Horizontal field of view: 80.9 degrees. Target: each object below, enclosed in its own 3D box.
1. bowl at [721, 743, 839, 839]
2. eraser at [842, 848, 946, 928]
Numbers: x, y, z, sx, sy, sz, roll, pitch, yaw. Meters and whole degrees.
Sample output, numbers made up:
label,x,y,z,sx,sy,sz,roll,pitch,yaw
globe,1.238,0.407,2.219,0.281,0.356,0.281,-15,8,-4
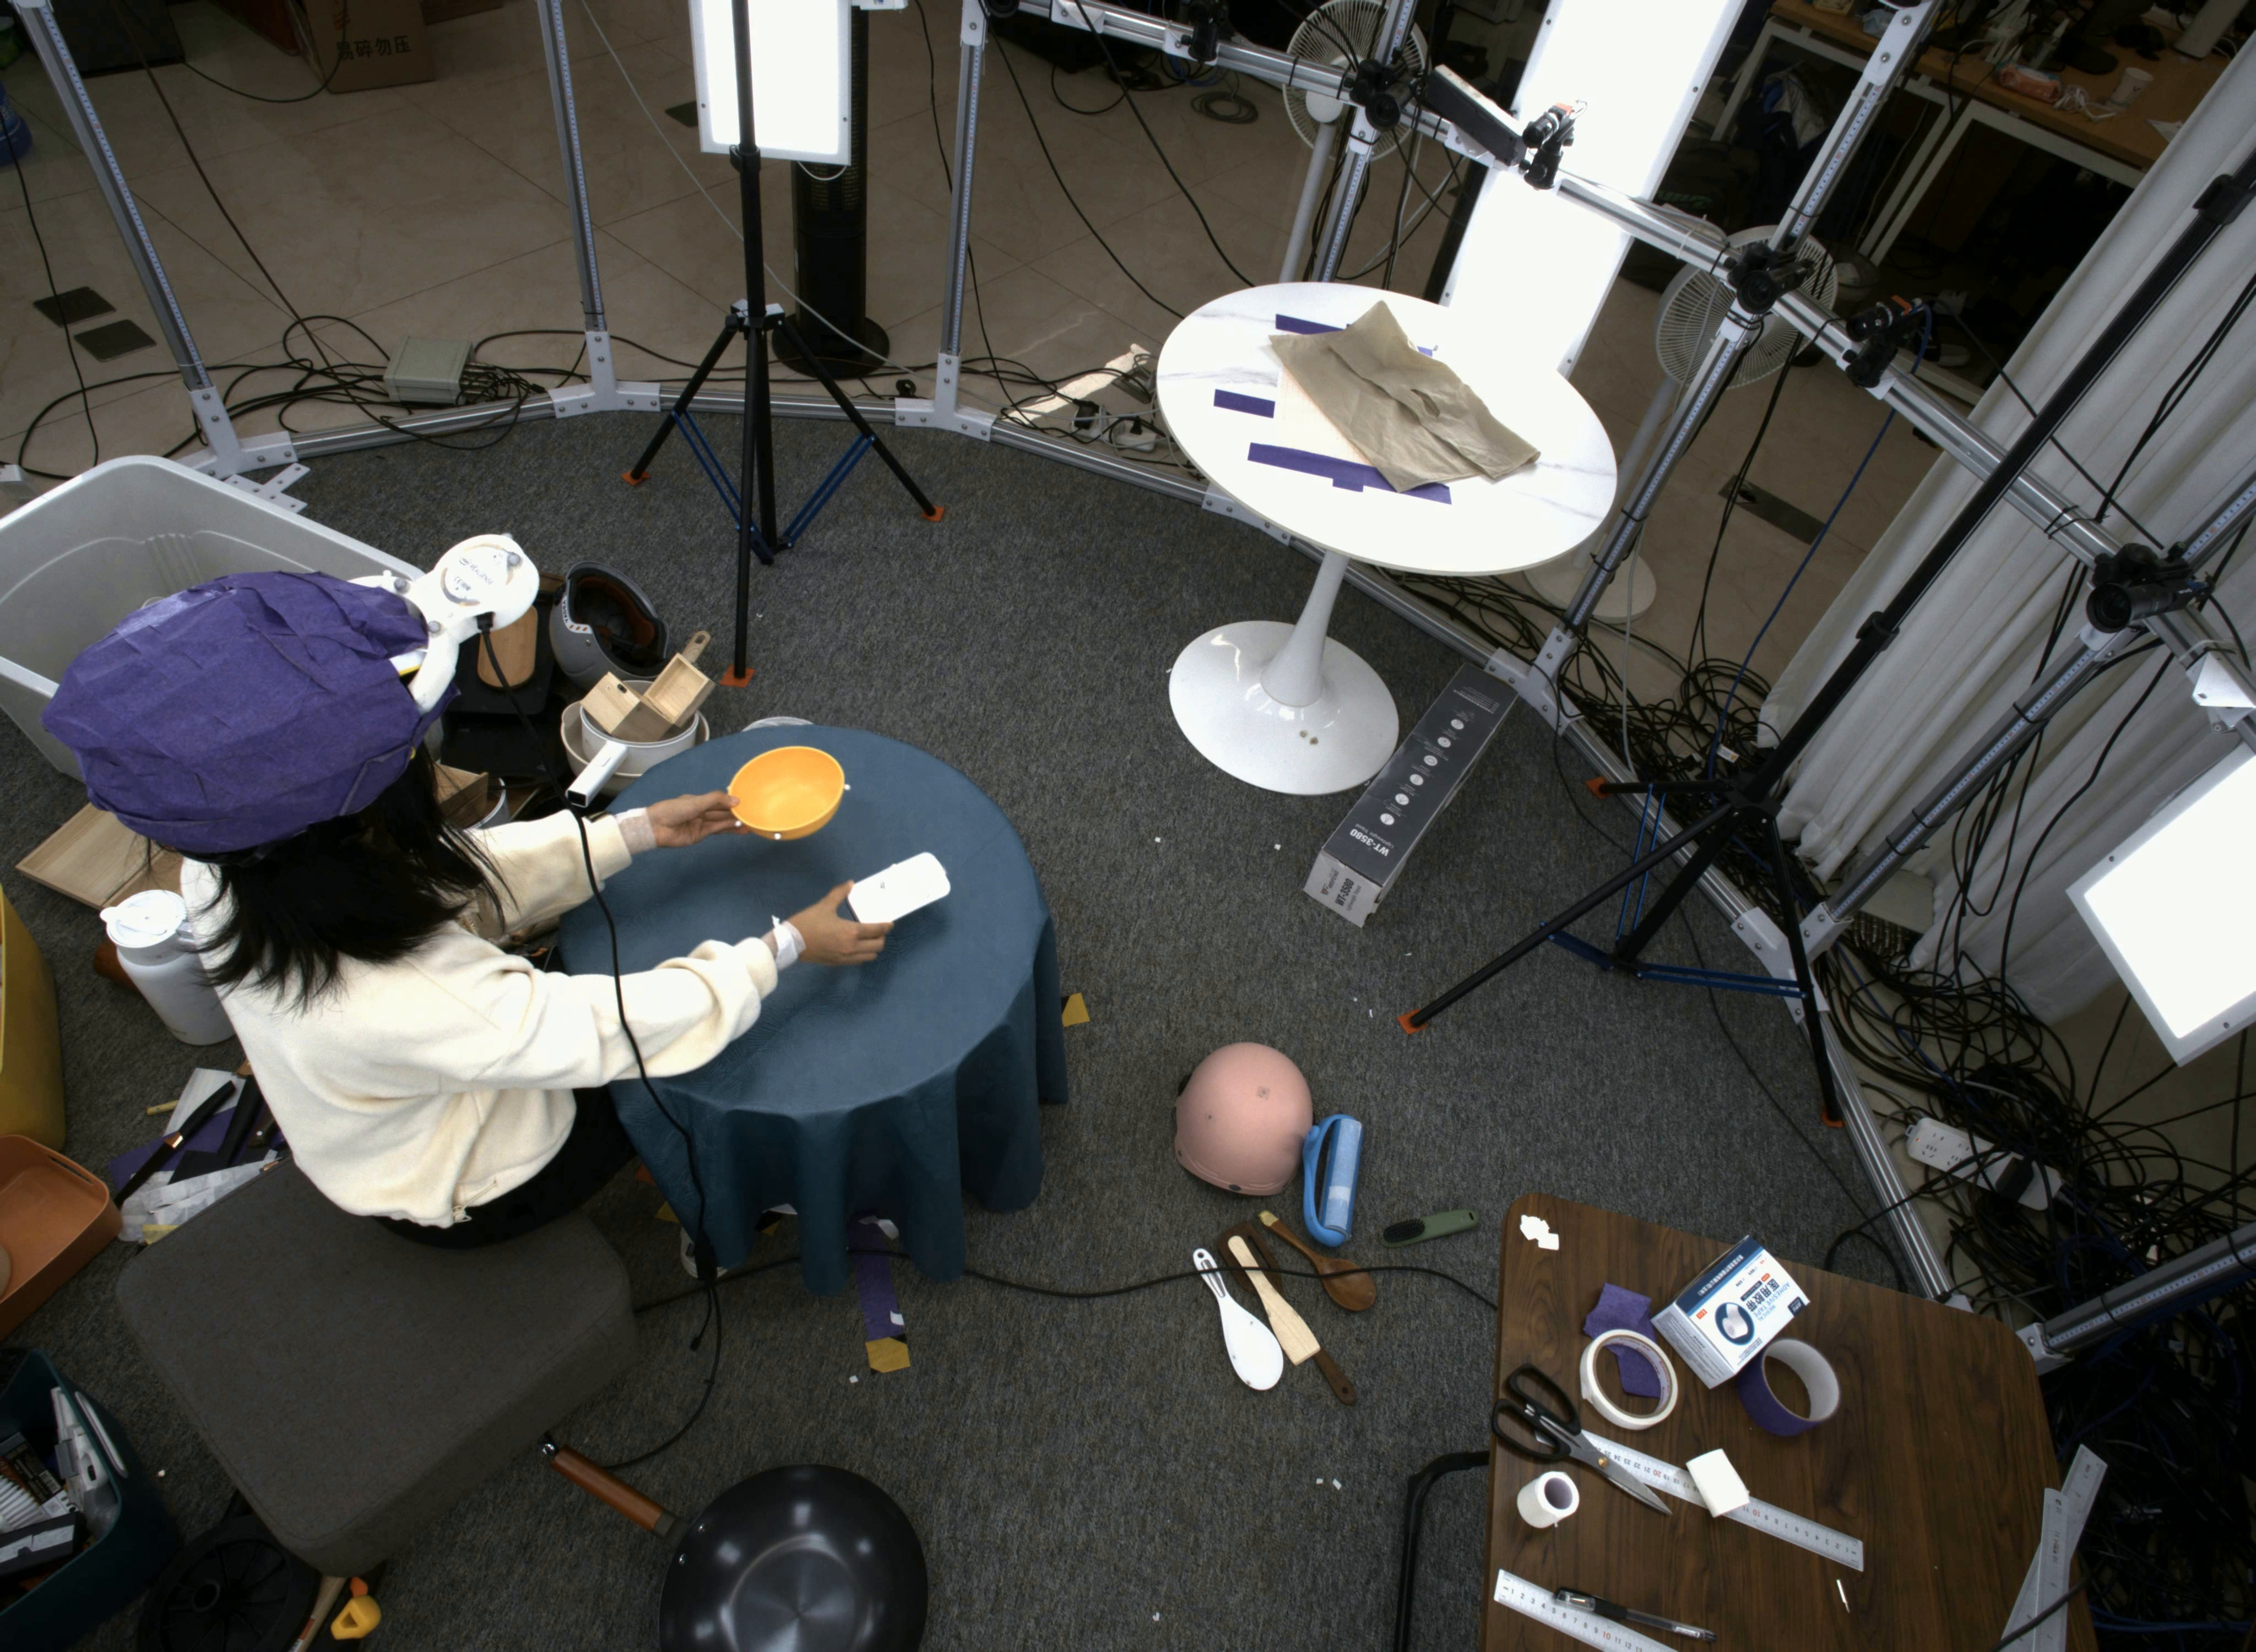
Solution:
label,x,y,z,sx,sy,sz,roll,pitch,yaw
bowl,-0.430,-0.033,1.620,0.144,0.062,0.142,1,49,0
eraser,-0.291,0.075,1.619,0.132,0.034,0.064,-27,89,-35
